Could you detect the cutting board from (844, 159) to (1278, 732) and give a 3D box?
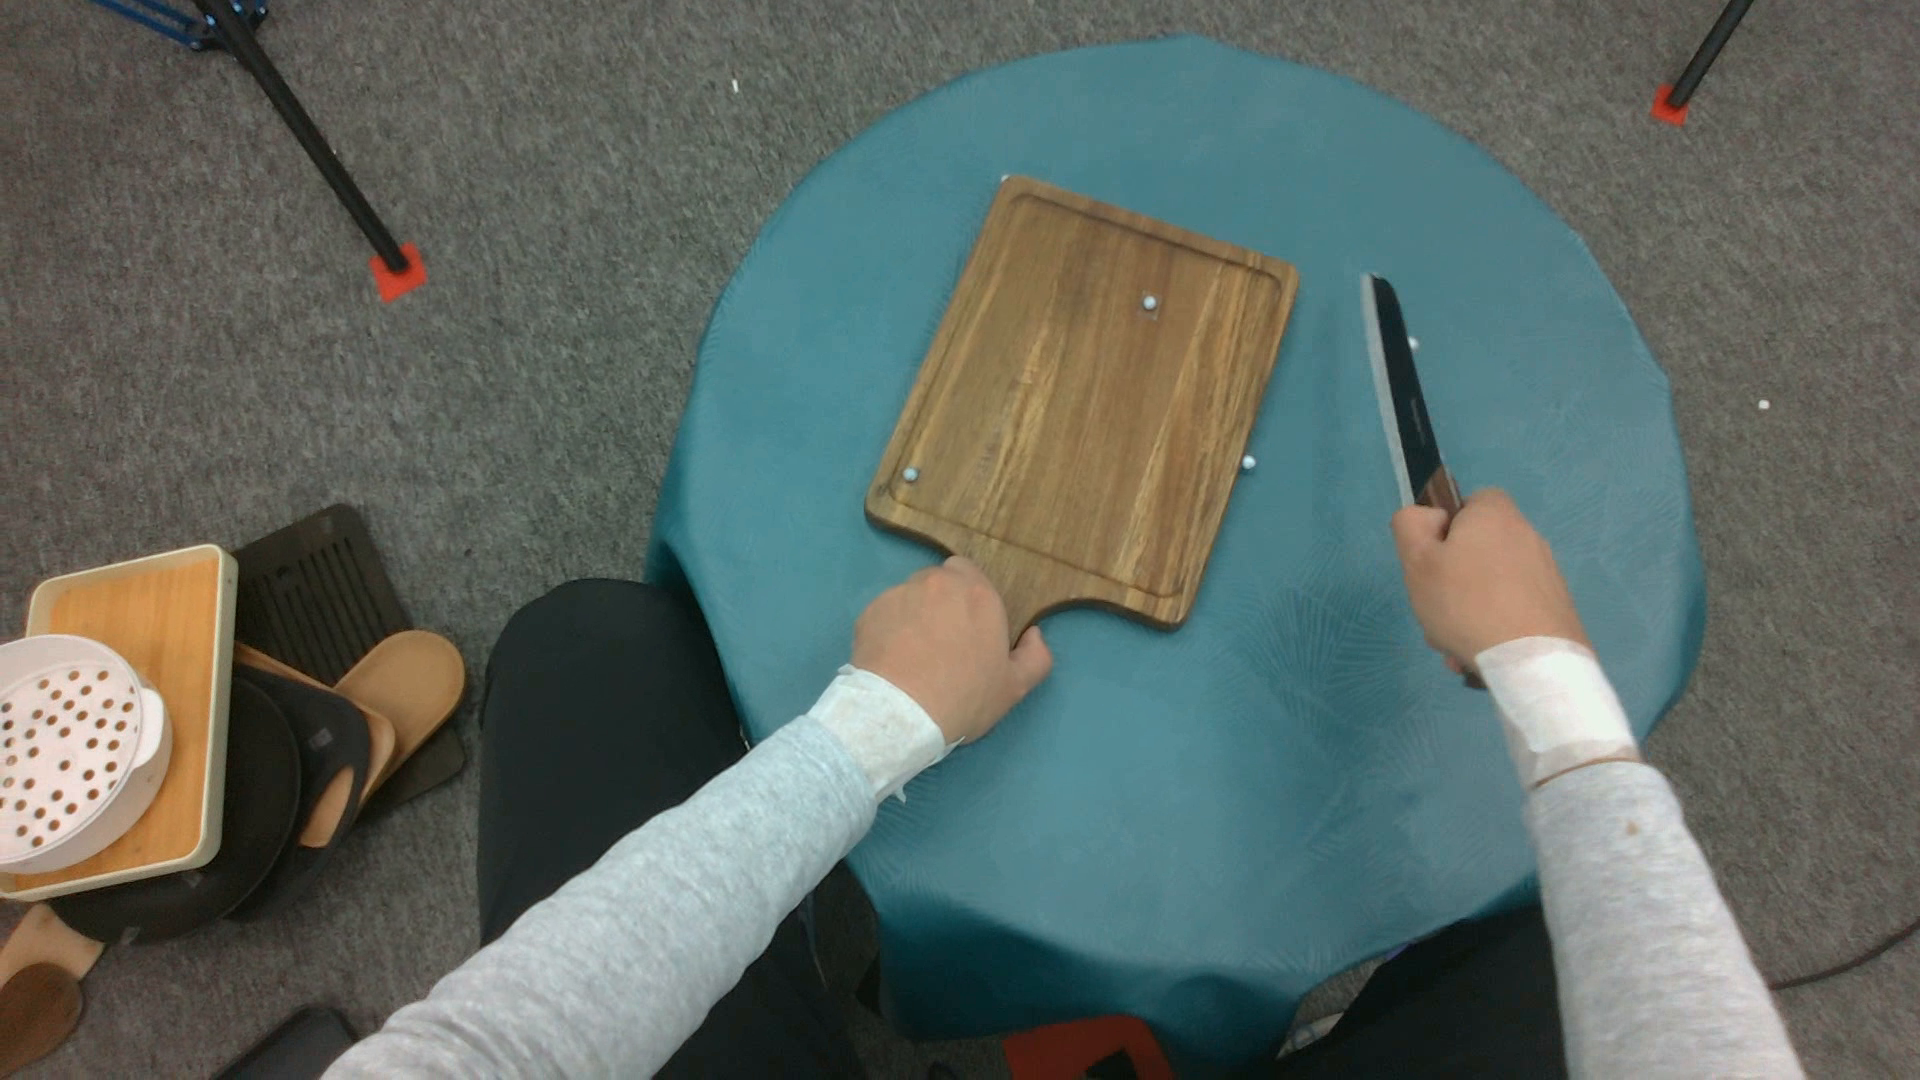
[{"bbox_3d":[0.048,-0.055,0.801,0.201,0.023,0.353,19,70,5],"label":"cutting board"}]

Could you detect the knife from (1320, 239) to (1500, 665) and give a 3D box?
[{"bbox_3d":[0.236,-0.058,0.749,0.020,0.050,0.290,0,57,-14],"label":"knife"}]
